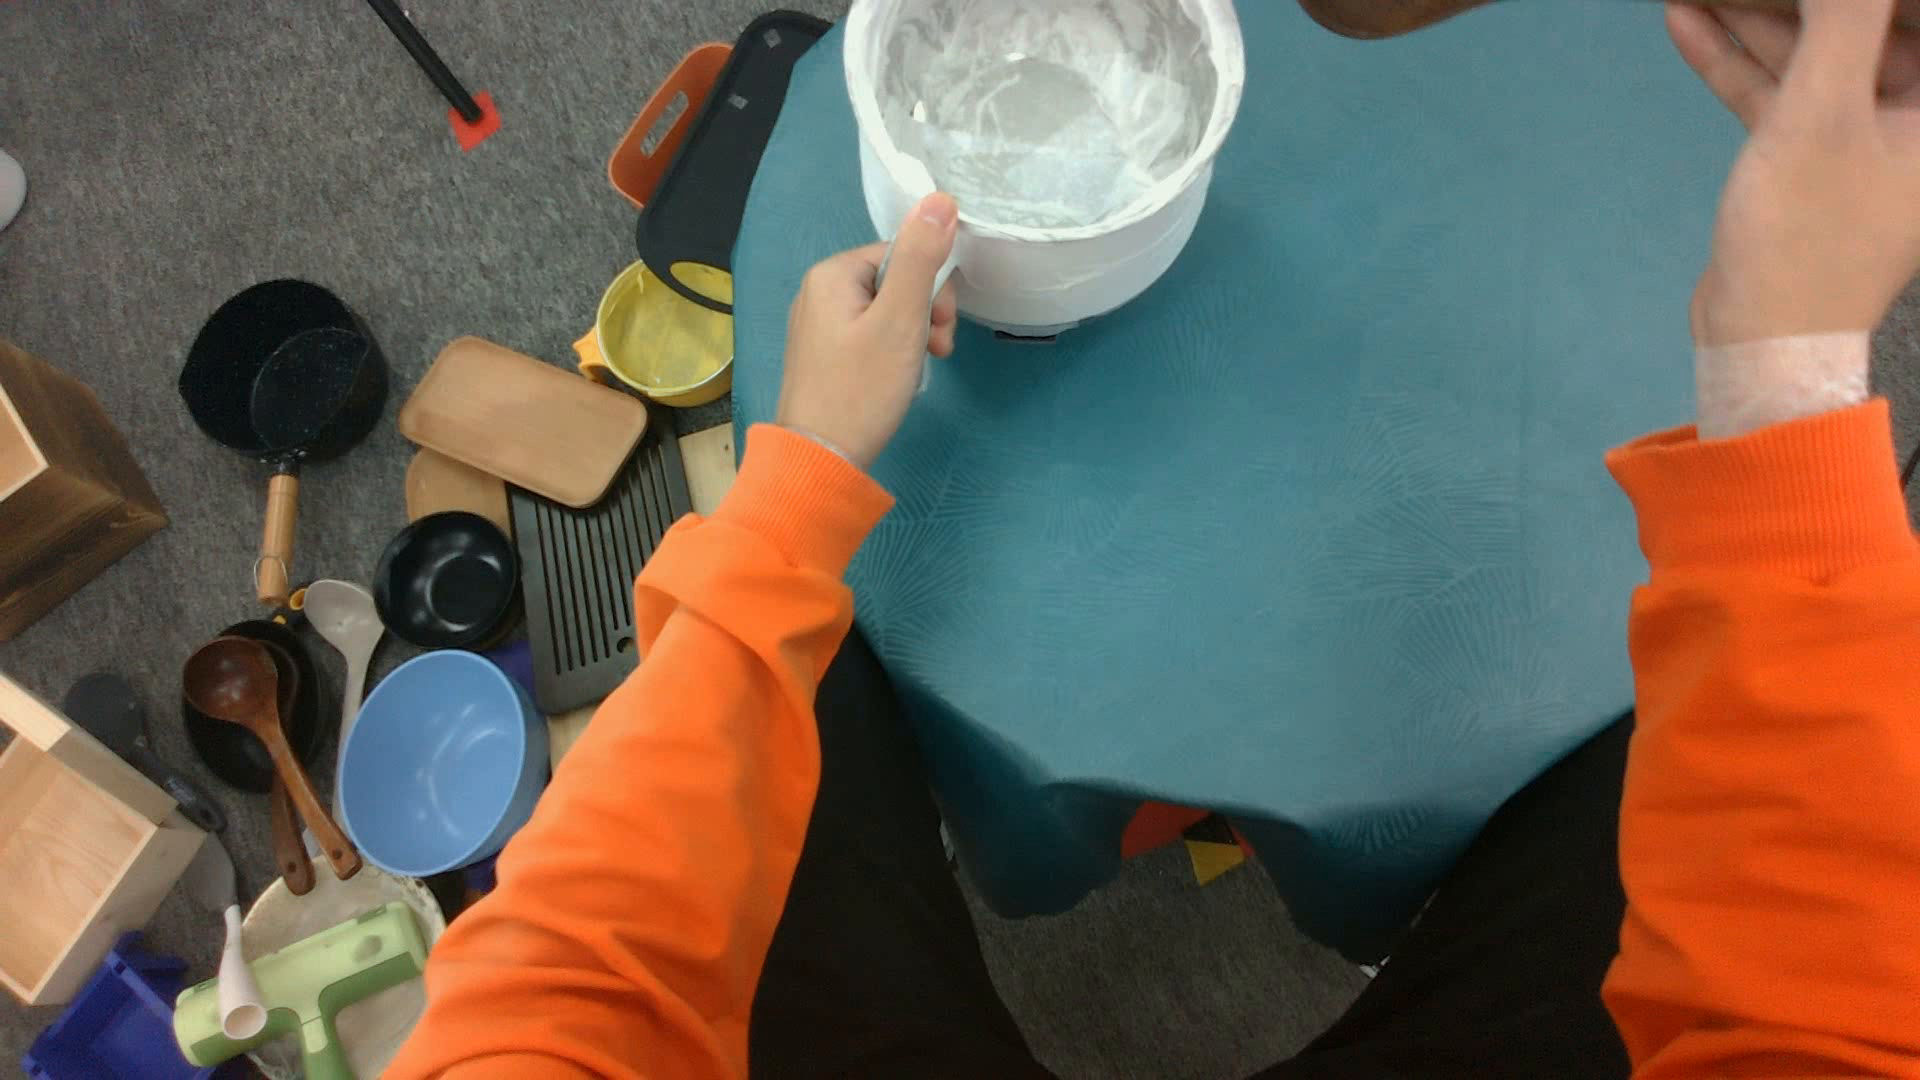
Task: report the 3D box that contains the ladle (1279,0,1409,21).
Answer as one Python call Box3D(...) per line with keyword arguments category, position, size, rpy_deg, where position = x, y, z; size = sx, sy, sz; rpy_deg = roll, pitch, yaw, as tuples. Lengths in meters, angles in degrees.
Box3D(category="ladle", position=(0.209, -0.198, 0.444), size=(0.274, 0.071, 0.076), rpy_deg=(33, 121, 47))

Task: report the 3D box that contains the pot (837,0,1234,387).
Box3D(category="pot", position=(0.019, -0.185, 0.666), size=(0.179, 0.136, 0.234), rpy_deg=(30, 79, 7))
